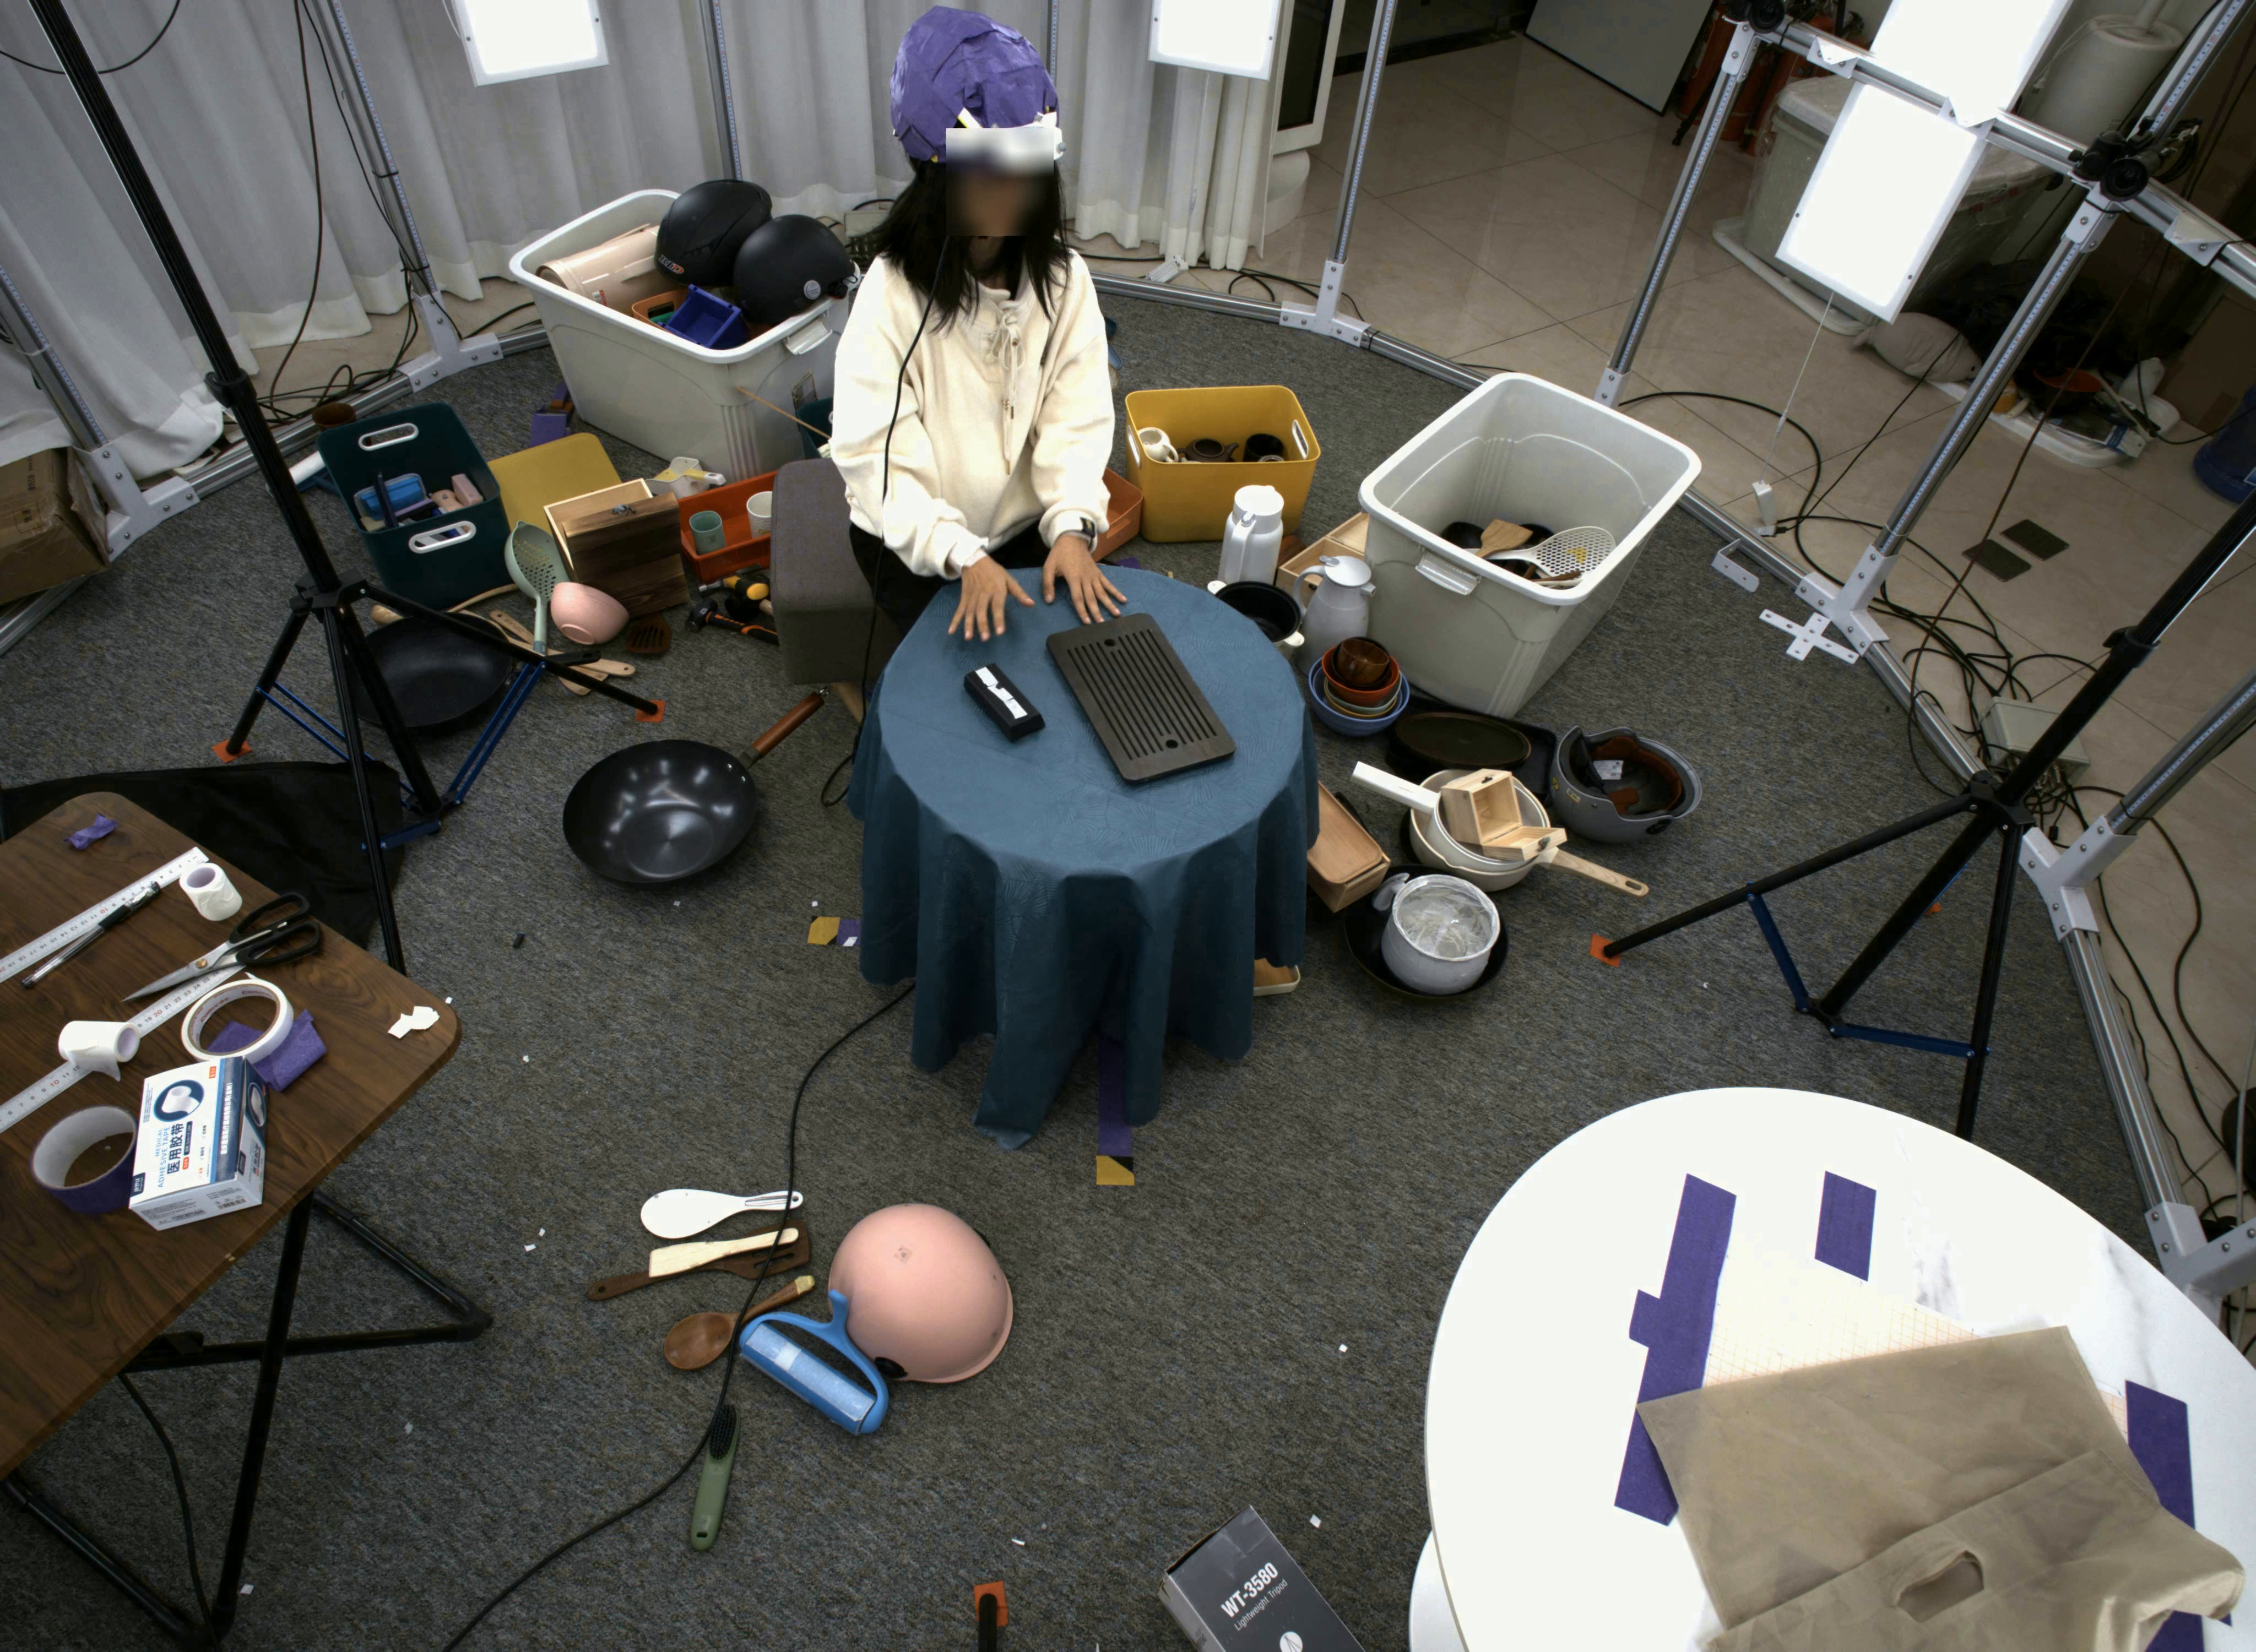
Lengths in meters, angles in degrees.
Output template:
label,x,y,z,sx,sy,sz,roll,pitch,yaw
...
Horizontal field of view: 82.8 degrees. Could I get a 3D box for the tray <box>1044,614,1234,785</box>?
label,x,y,z,sx,sy,sz,roll,pitch,yaw
tray,0.012,-0.184,1.819,0.170,0.018,0.313,-16,52,-17

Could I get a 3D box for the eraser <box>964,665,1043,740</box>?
label,x,y,z,sx,sy,sz,roll,pitch,yaw
eraser,-0.174,-0.173,1.791,0.054,0.030,0.128,-24,54,-26
